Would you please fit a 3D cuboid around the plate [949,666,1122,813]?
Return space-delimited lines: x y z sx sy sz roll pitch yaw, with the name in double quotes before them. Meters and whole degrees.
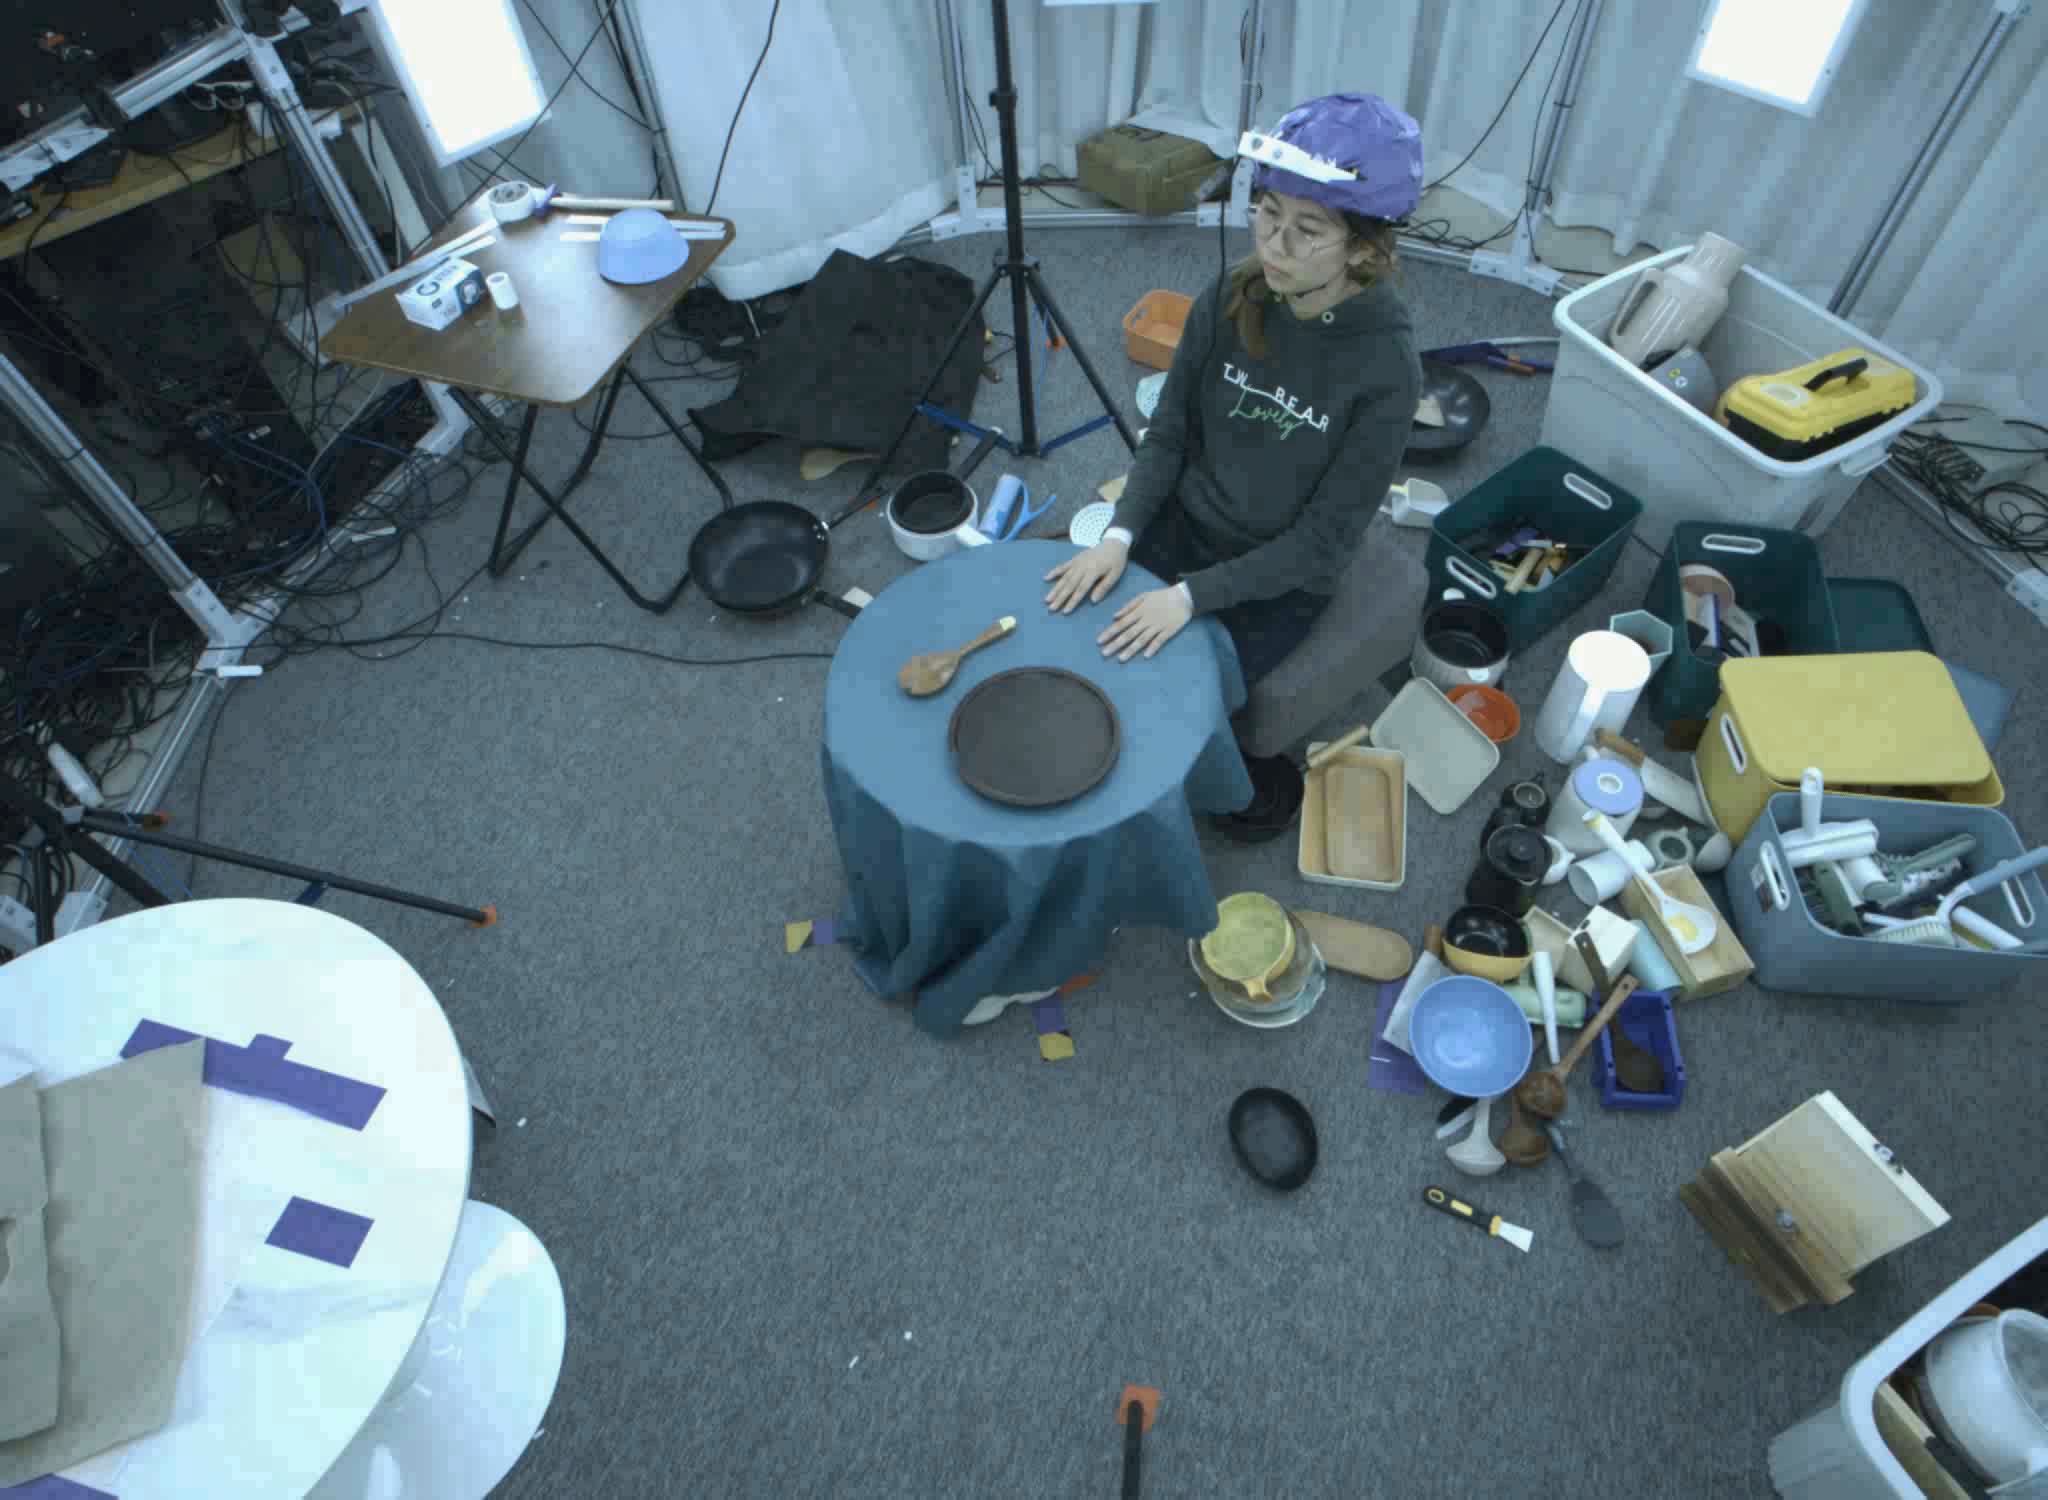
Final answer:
"plate" 0.017 -0.015 1.794 0.254 0.029 0.252 0 56 2

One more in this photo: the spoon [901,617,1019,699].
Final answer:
"spoon" -0.095 -0.143 1.890 0.217 0.017 0.074 -35 61 -21
